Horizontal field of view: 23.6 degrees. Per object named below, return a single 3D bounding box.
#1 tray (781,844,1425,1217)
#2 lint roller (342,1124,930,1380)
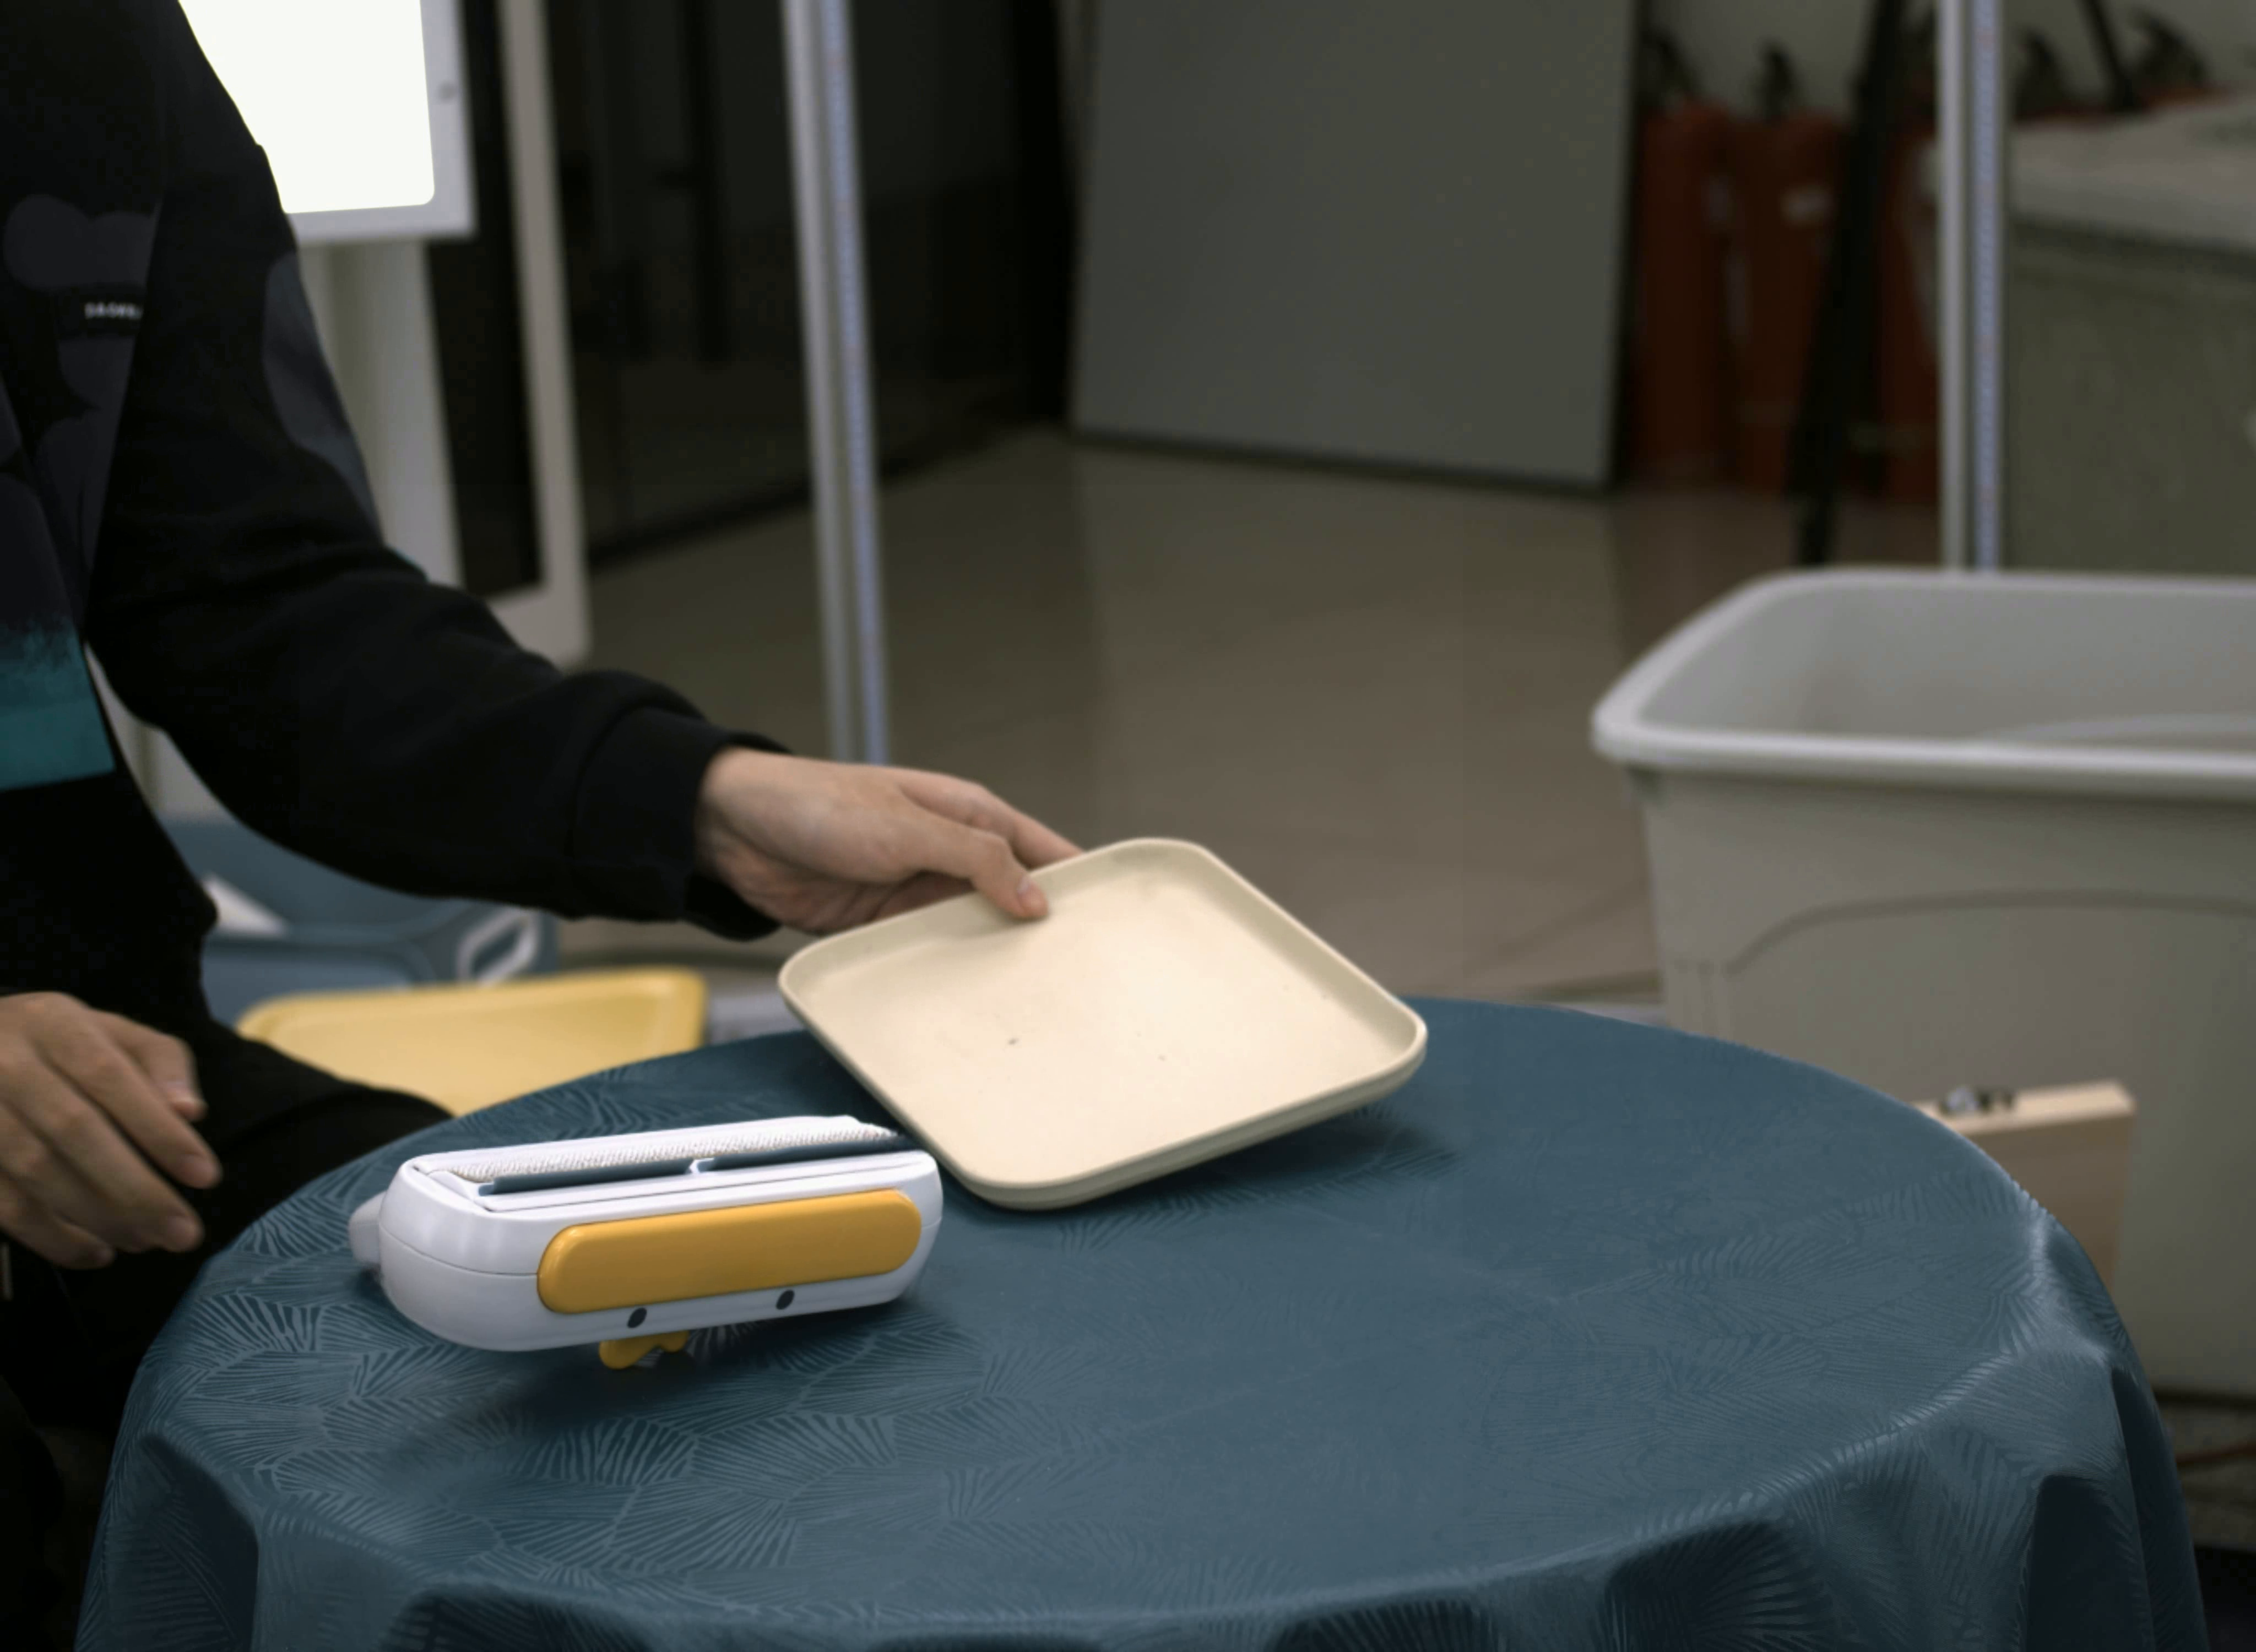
[{"bbox_3d":[-0.011,0.069,1.865,0.168,0.017,0.242,-20,23,-16],"label":"tray"},{"bbox_3d":[-0.181,0.123,1.676,0.188,0.075,0.194,-8,12,-37],"label":"lint roller"}]
